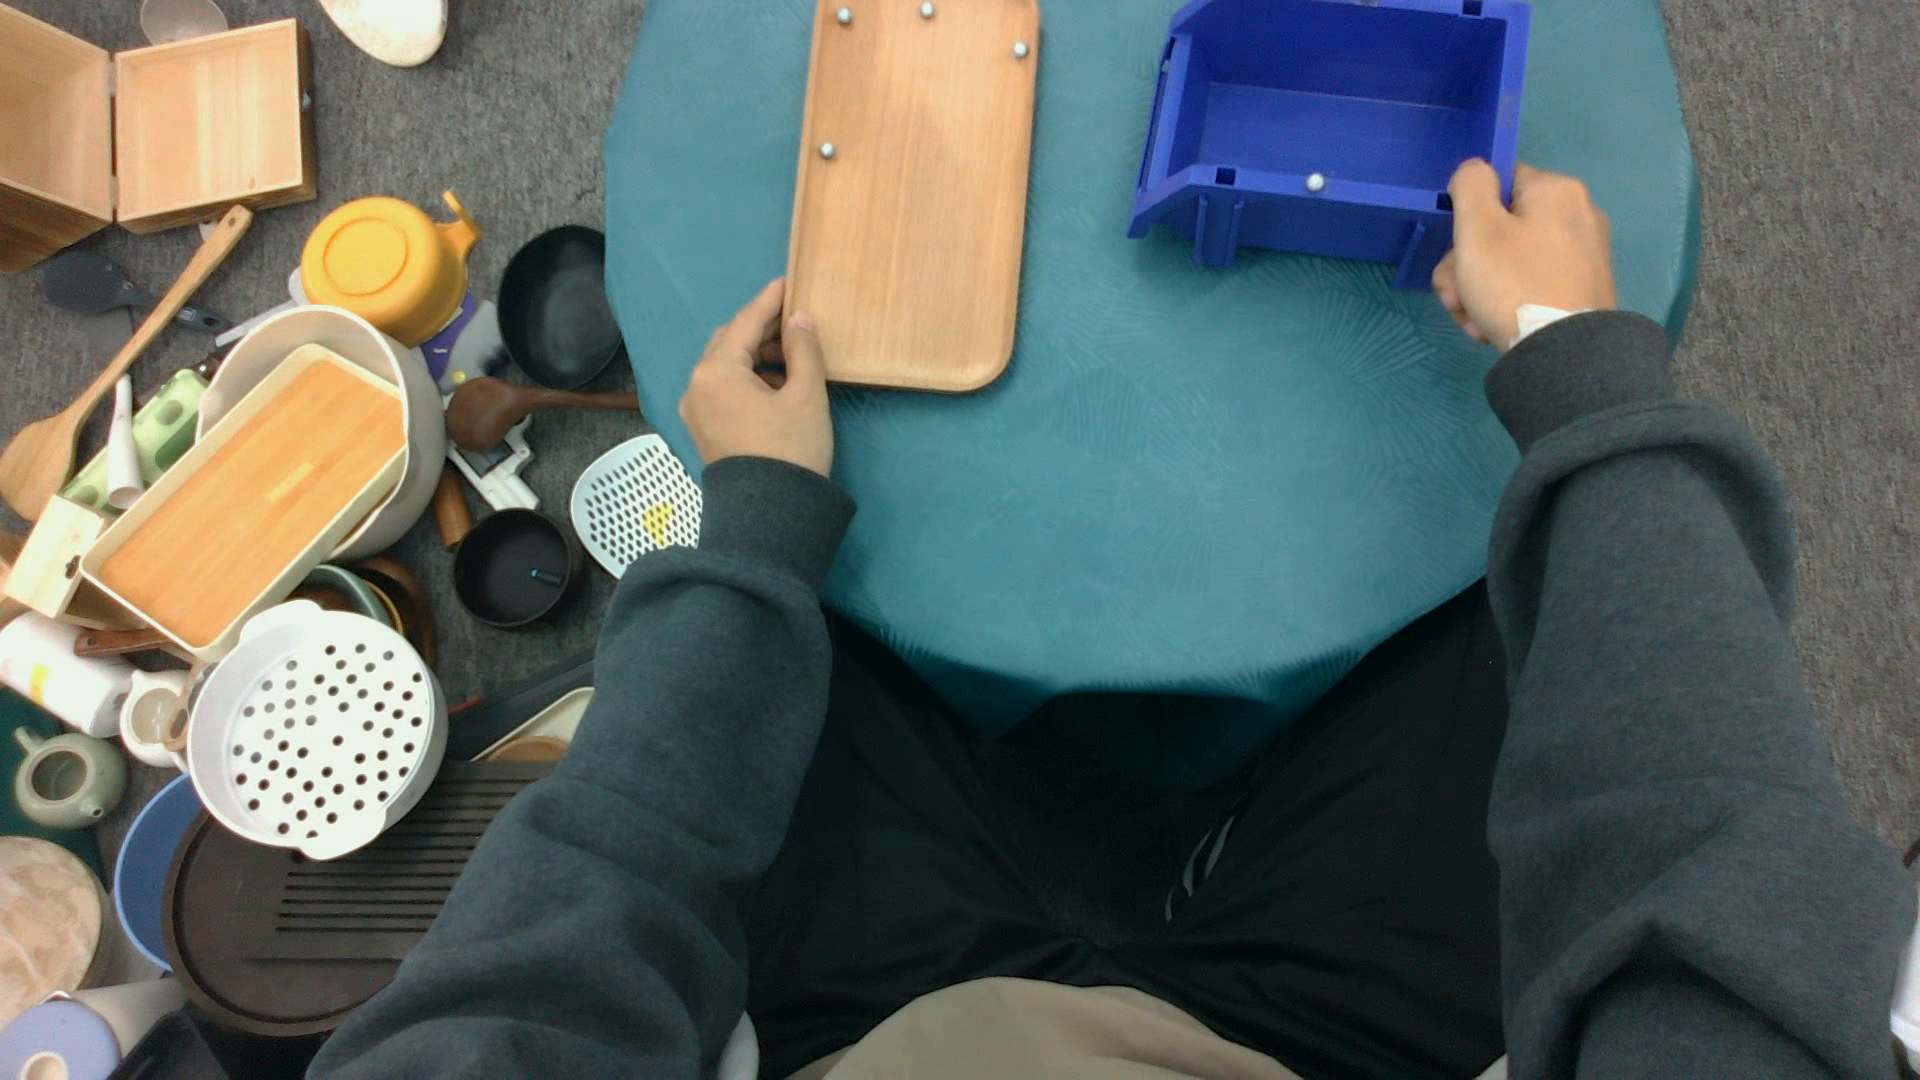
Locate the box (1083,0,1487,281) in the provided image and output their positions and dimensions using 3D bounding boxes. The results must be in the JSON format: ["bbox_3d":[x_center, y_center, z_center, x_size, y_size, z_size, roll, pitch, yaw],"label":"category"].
[{"bbox_3d":[0.164,-0.218,0.717,0.179,0.082,0.125,12,77,5],"label":"box"}]

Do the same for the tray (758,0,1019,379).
[{"bbox_3d":[-0.037,-0.211,0.764,0.130,0.023,0.251,4,79,3],"label":"tray"}]
